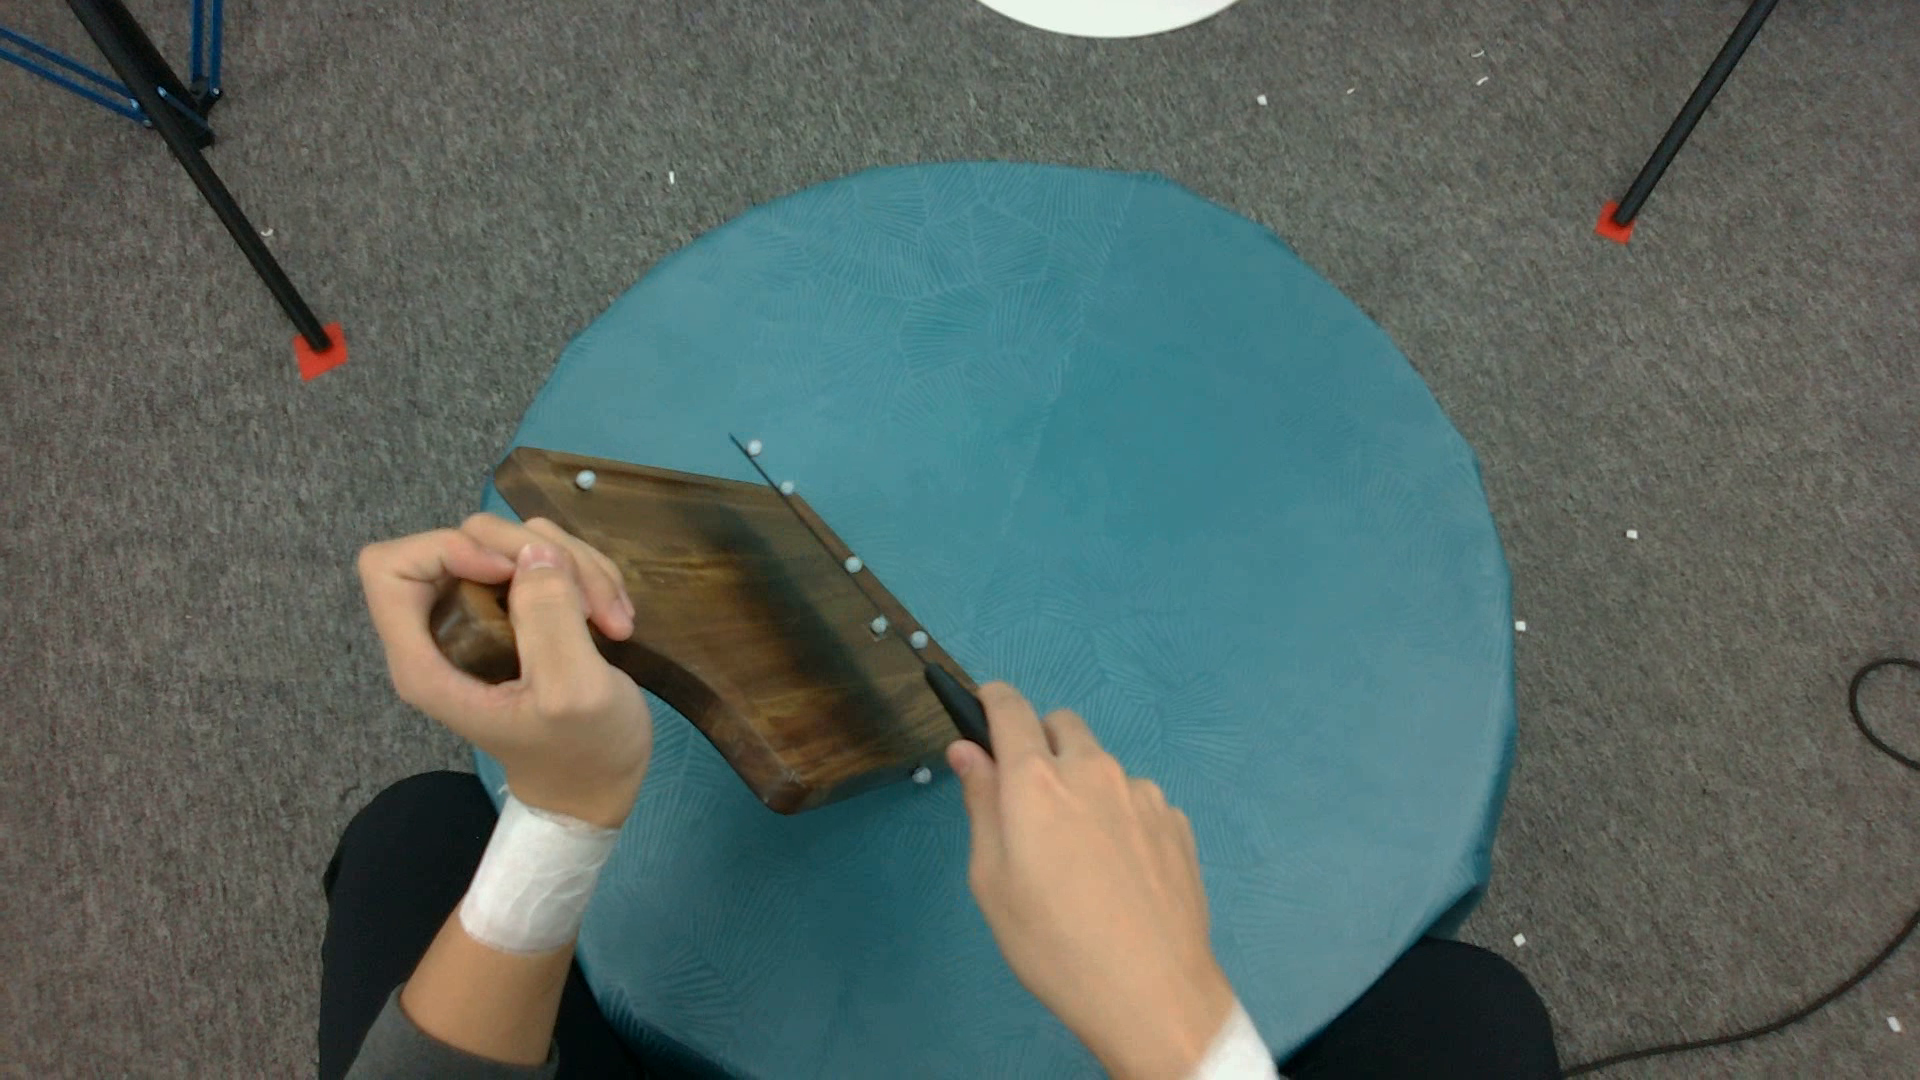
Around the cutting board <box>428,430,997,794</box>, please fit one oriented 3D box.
[{"bbox_3d":[-0.107,0.026,0.612,0.201,0.352,0.023,44,103,15],"label":"cutting board"}]

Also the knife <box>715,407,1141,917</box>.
[{"bbox_3d":[-0.023,0.045,0.607,0.021,0.081,0.303,-39,58,-5],"label":"knife"}]
